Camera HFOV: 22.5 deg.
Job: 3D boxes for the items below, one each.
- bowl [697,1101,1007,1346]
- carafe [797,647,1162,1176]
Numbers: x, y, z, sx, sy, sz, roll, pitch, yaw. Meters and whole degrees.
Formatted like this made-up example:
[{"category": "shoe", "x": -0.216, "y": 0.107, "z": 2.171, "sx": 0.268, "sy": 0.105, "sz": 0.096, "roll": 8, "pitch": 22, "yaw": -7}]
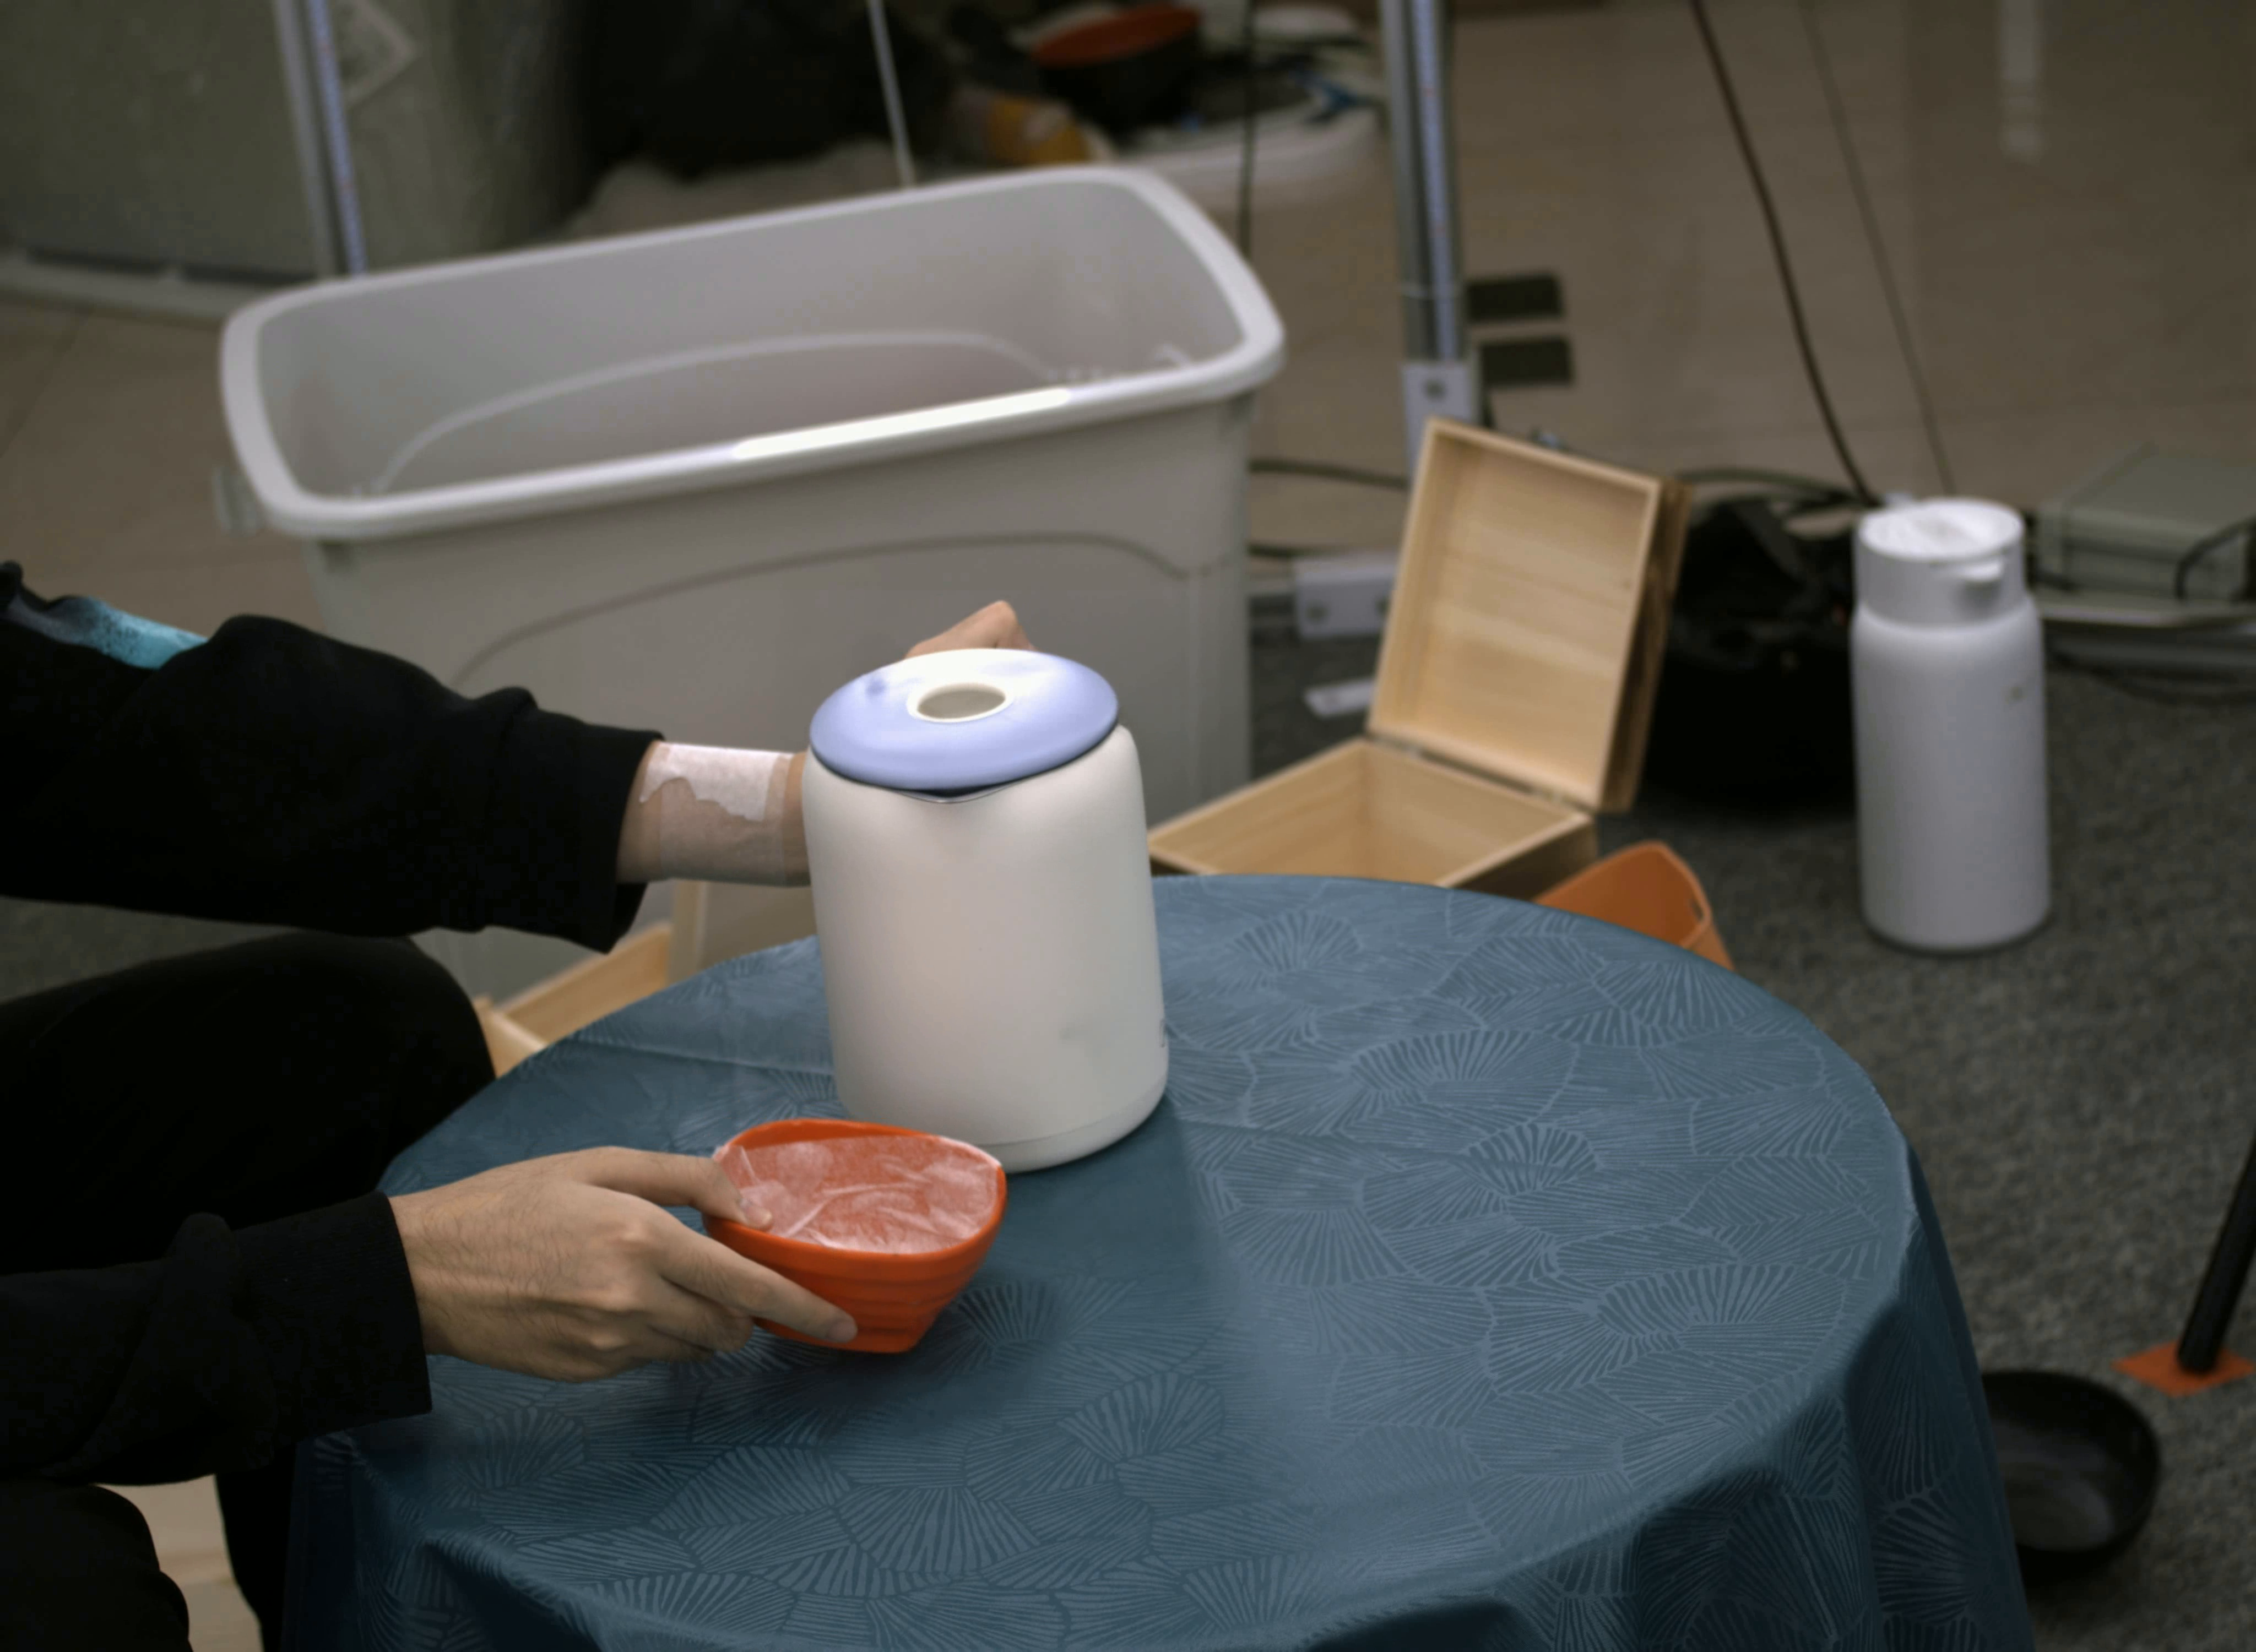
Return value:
[{"category": "bowl", "x": -0.102, "y": 0.148, "z": 2.060, "sx": 0.119, "sy": 0.052, "sz": 0.117, "roll": 7, "pitch": 25, "yaw": -3}, {"category": "carafe", "x": -0.057, "y": 0.023, "z": 2.200, "sx": 0.132, "sy": 0.185, "sz": 0.188, "roll": -3, "pitch": 24, "yaw": 1}]
